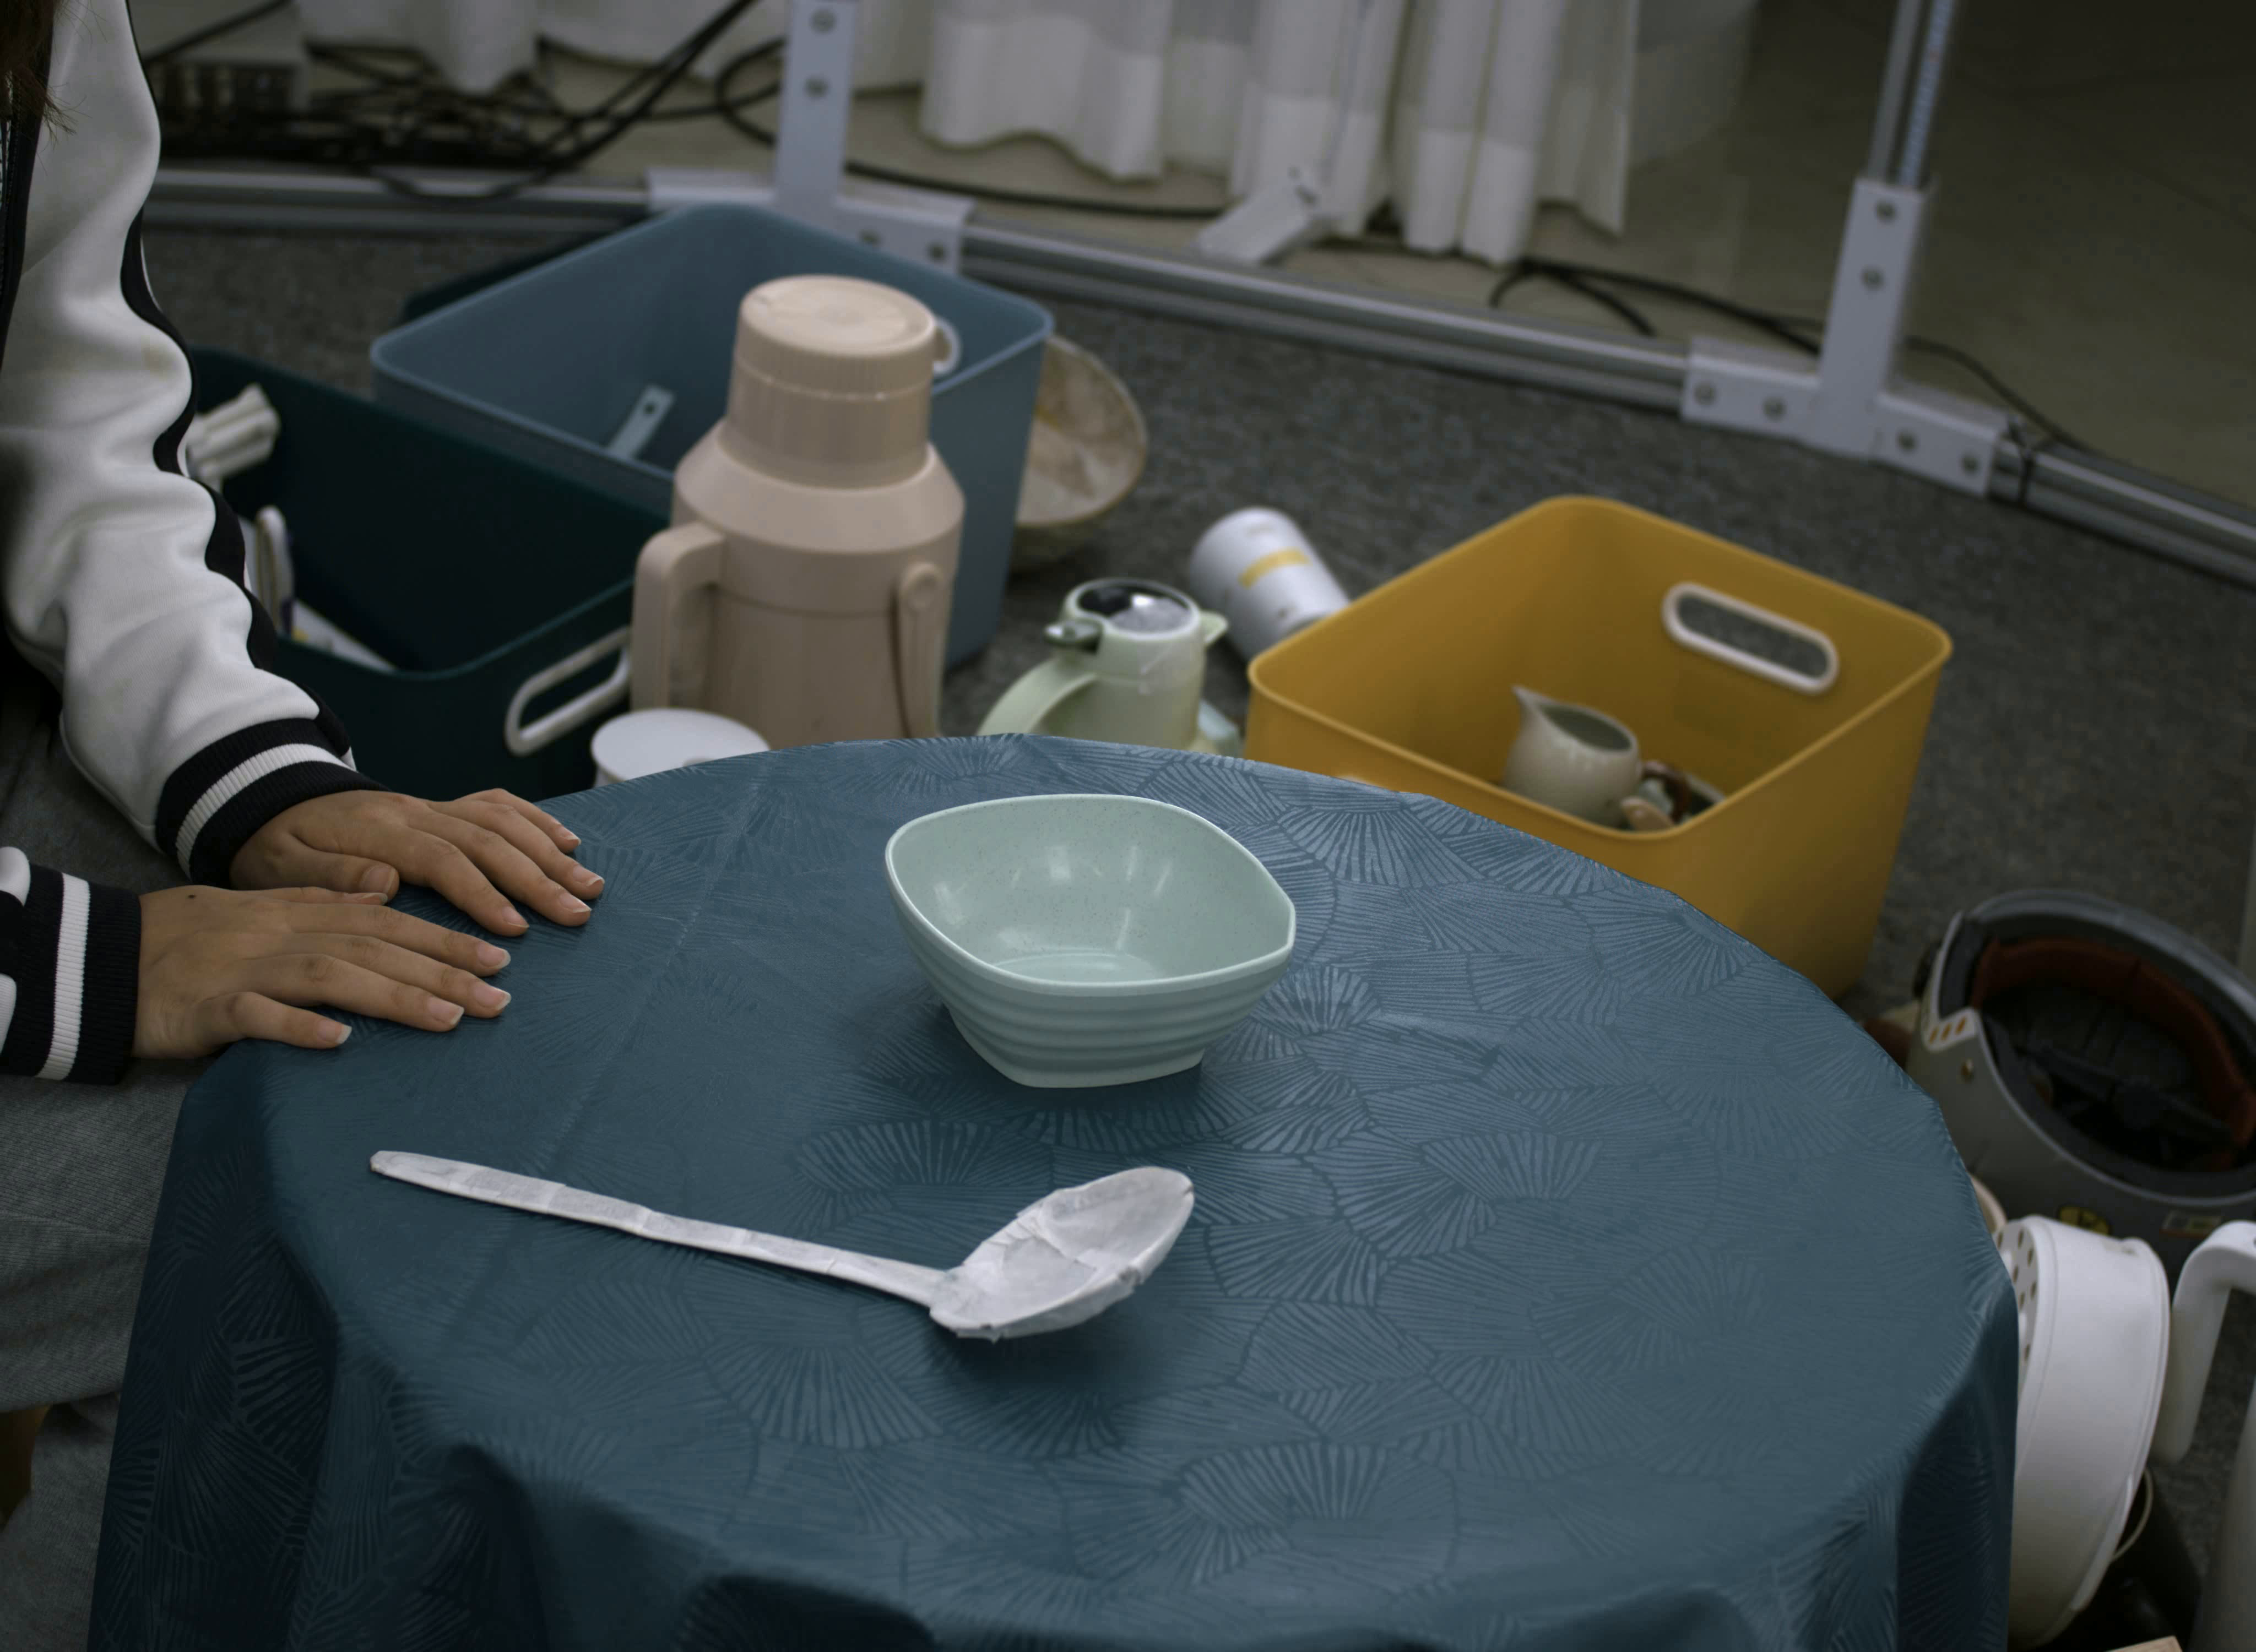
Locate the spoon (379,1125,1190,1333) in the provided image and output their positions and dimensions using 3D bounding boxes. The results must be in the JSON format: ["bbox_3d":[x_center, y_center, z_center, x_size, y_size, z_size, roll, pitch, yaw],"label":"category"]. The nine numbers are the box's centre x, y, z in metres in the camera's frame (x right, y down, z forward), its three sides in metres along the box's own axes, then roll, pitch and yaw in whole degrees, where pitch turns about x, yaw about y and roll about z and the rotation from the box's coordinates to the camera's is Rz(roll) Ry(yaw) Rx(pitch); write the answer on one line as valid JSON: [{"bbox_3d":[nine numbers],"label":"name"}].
[{"bbox_3d":[-0.115,0.112,1.737,0.278,0.059,0.101,14,23,15],"label":"spoon"}]

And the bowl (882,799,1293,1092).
[{"bbox_3d":[-0.017,0.048,1.888,0.151,0.058,0.152,5,27,-3],"label":"bowl"}]
